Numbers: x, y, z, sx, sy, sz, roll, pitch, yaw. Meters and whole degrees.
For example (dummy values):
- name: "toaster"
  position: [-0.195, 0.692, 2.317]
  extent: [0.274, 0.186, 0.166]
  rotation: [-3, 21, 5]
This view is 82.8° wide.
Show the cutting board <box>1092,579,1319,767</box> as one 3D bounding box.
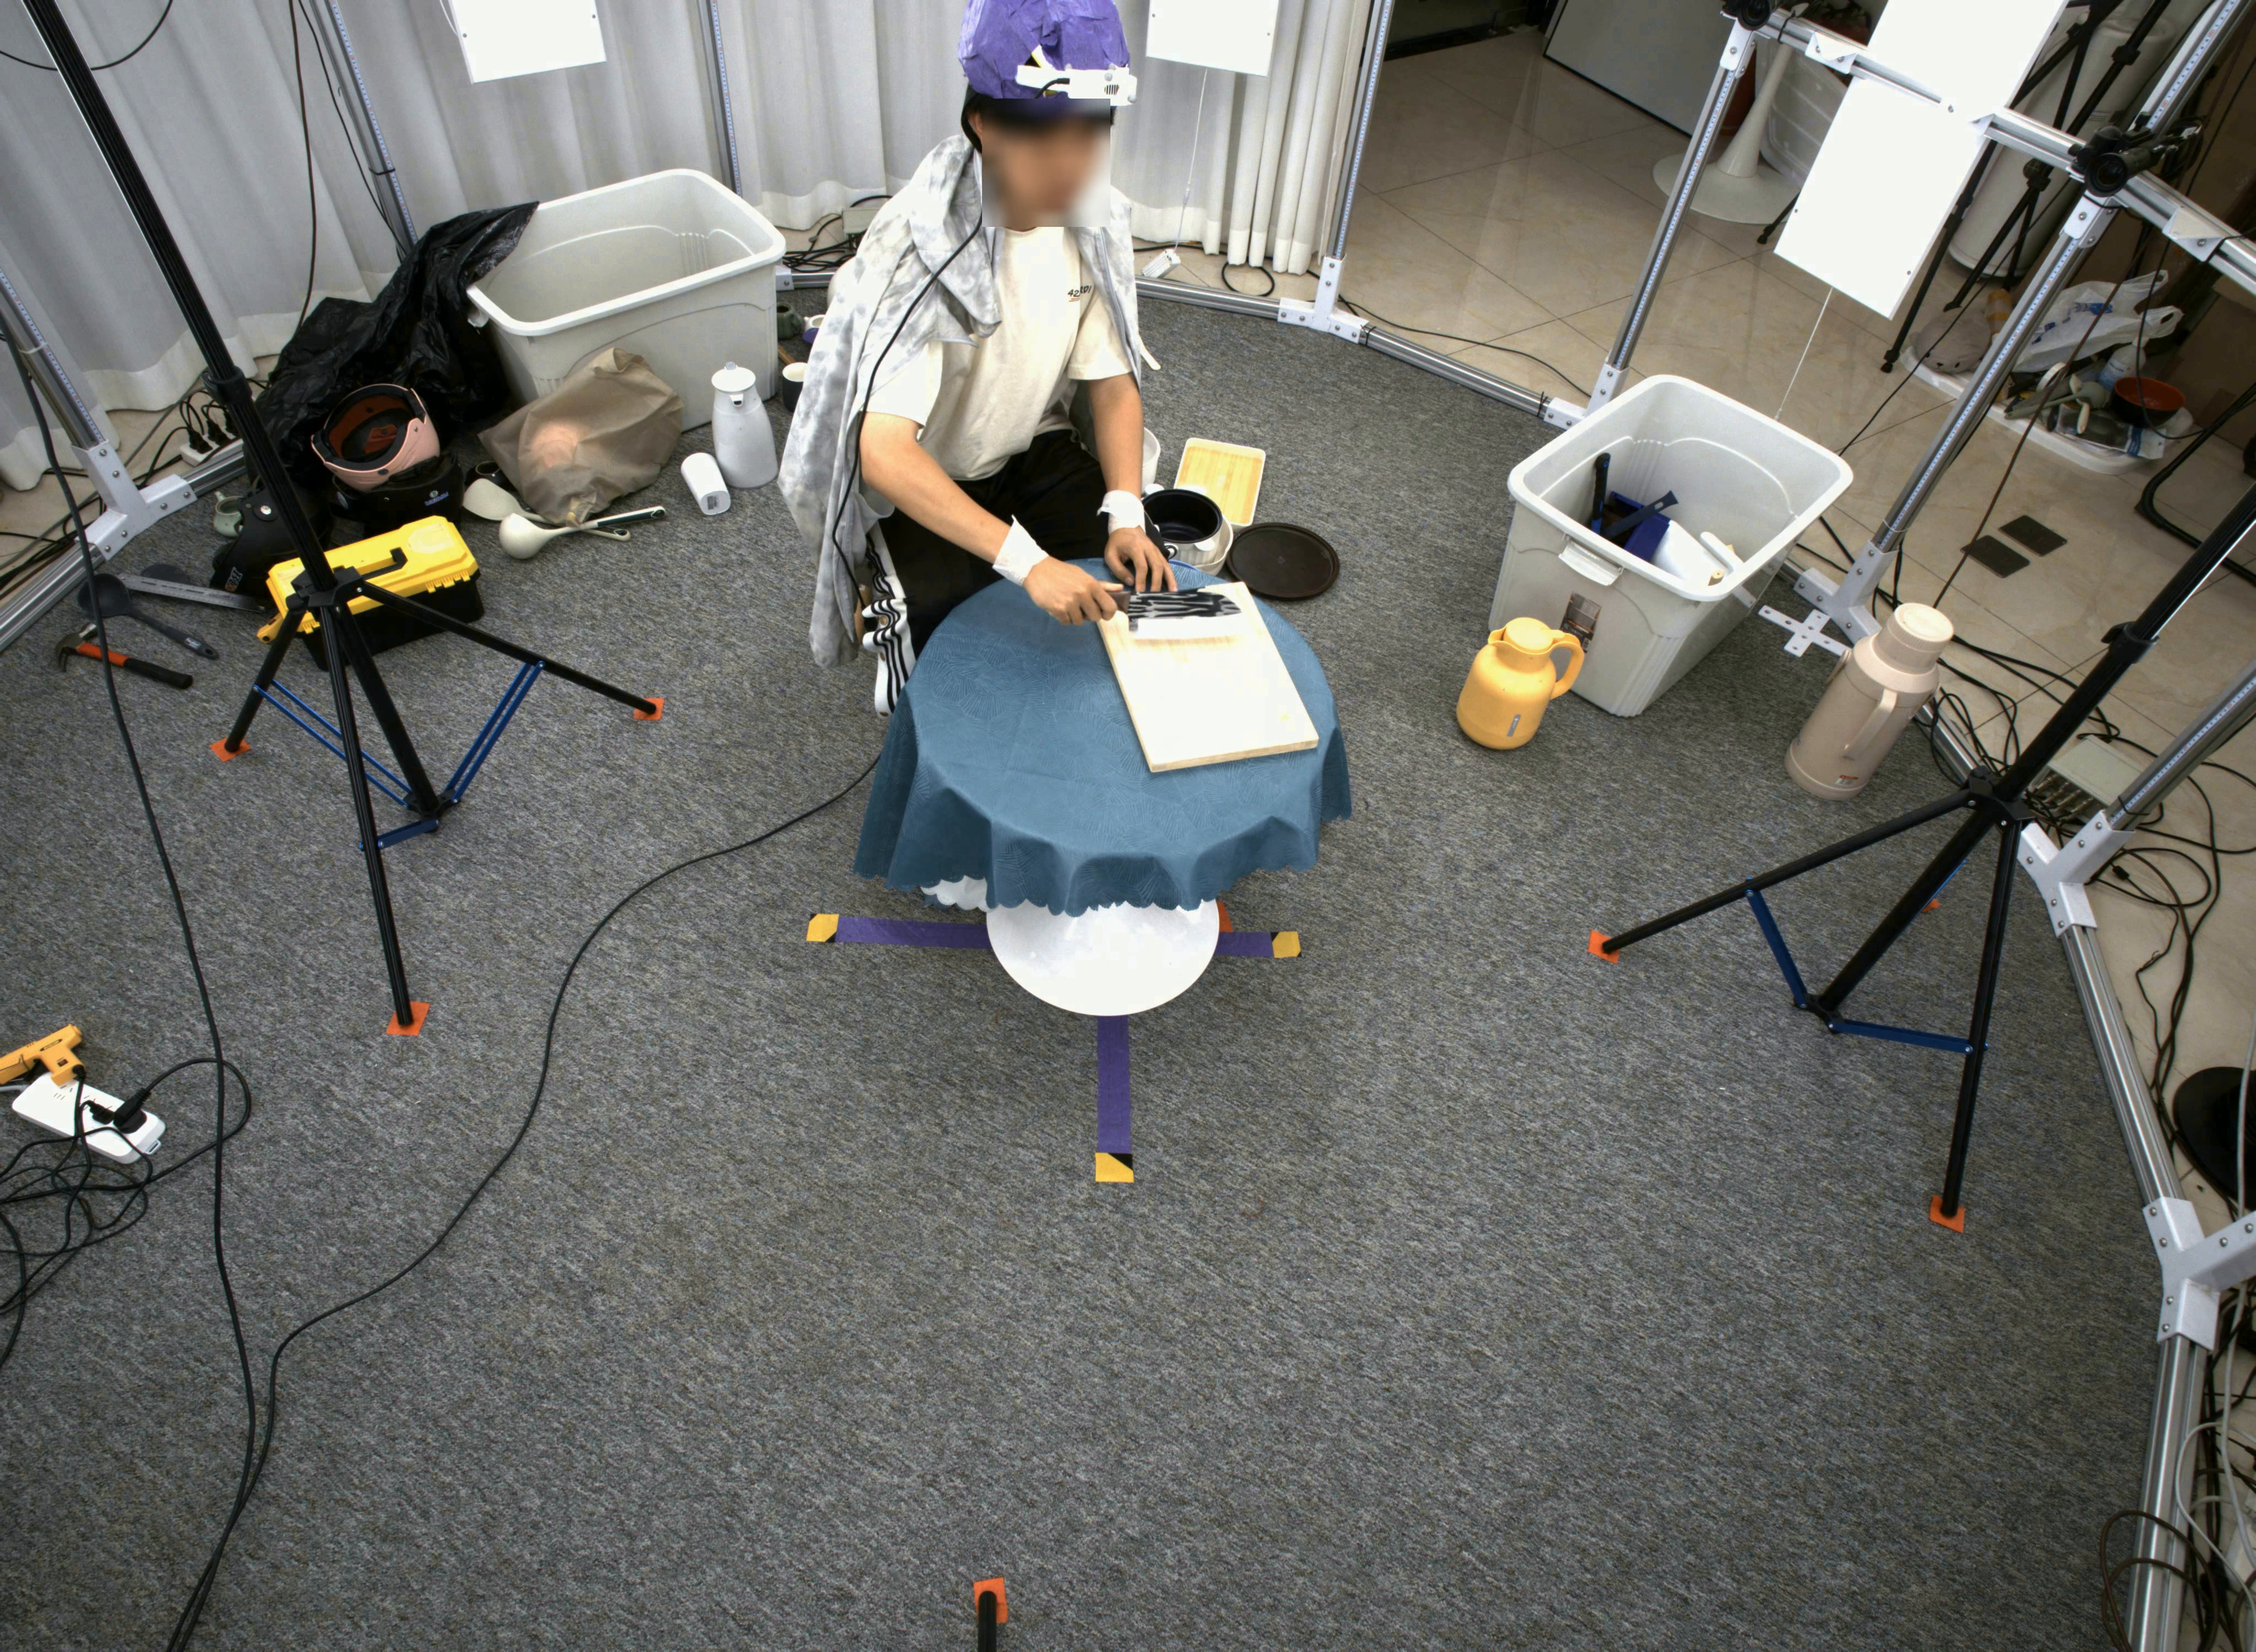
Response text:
- name: "cutting board"
  position: [0.104, -0.228, 1.856]
  extent: [0.250, 0.023, 0.357]
  rotation: [-10, 50, -13]

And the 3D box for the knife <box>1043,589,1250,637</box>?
- name: "knife"
  position: [0.028, -0.307, 1.846]
  extent: [0.299, 0.068, 0.024]
  rotation: [0, 3, -6]
